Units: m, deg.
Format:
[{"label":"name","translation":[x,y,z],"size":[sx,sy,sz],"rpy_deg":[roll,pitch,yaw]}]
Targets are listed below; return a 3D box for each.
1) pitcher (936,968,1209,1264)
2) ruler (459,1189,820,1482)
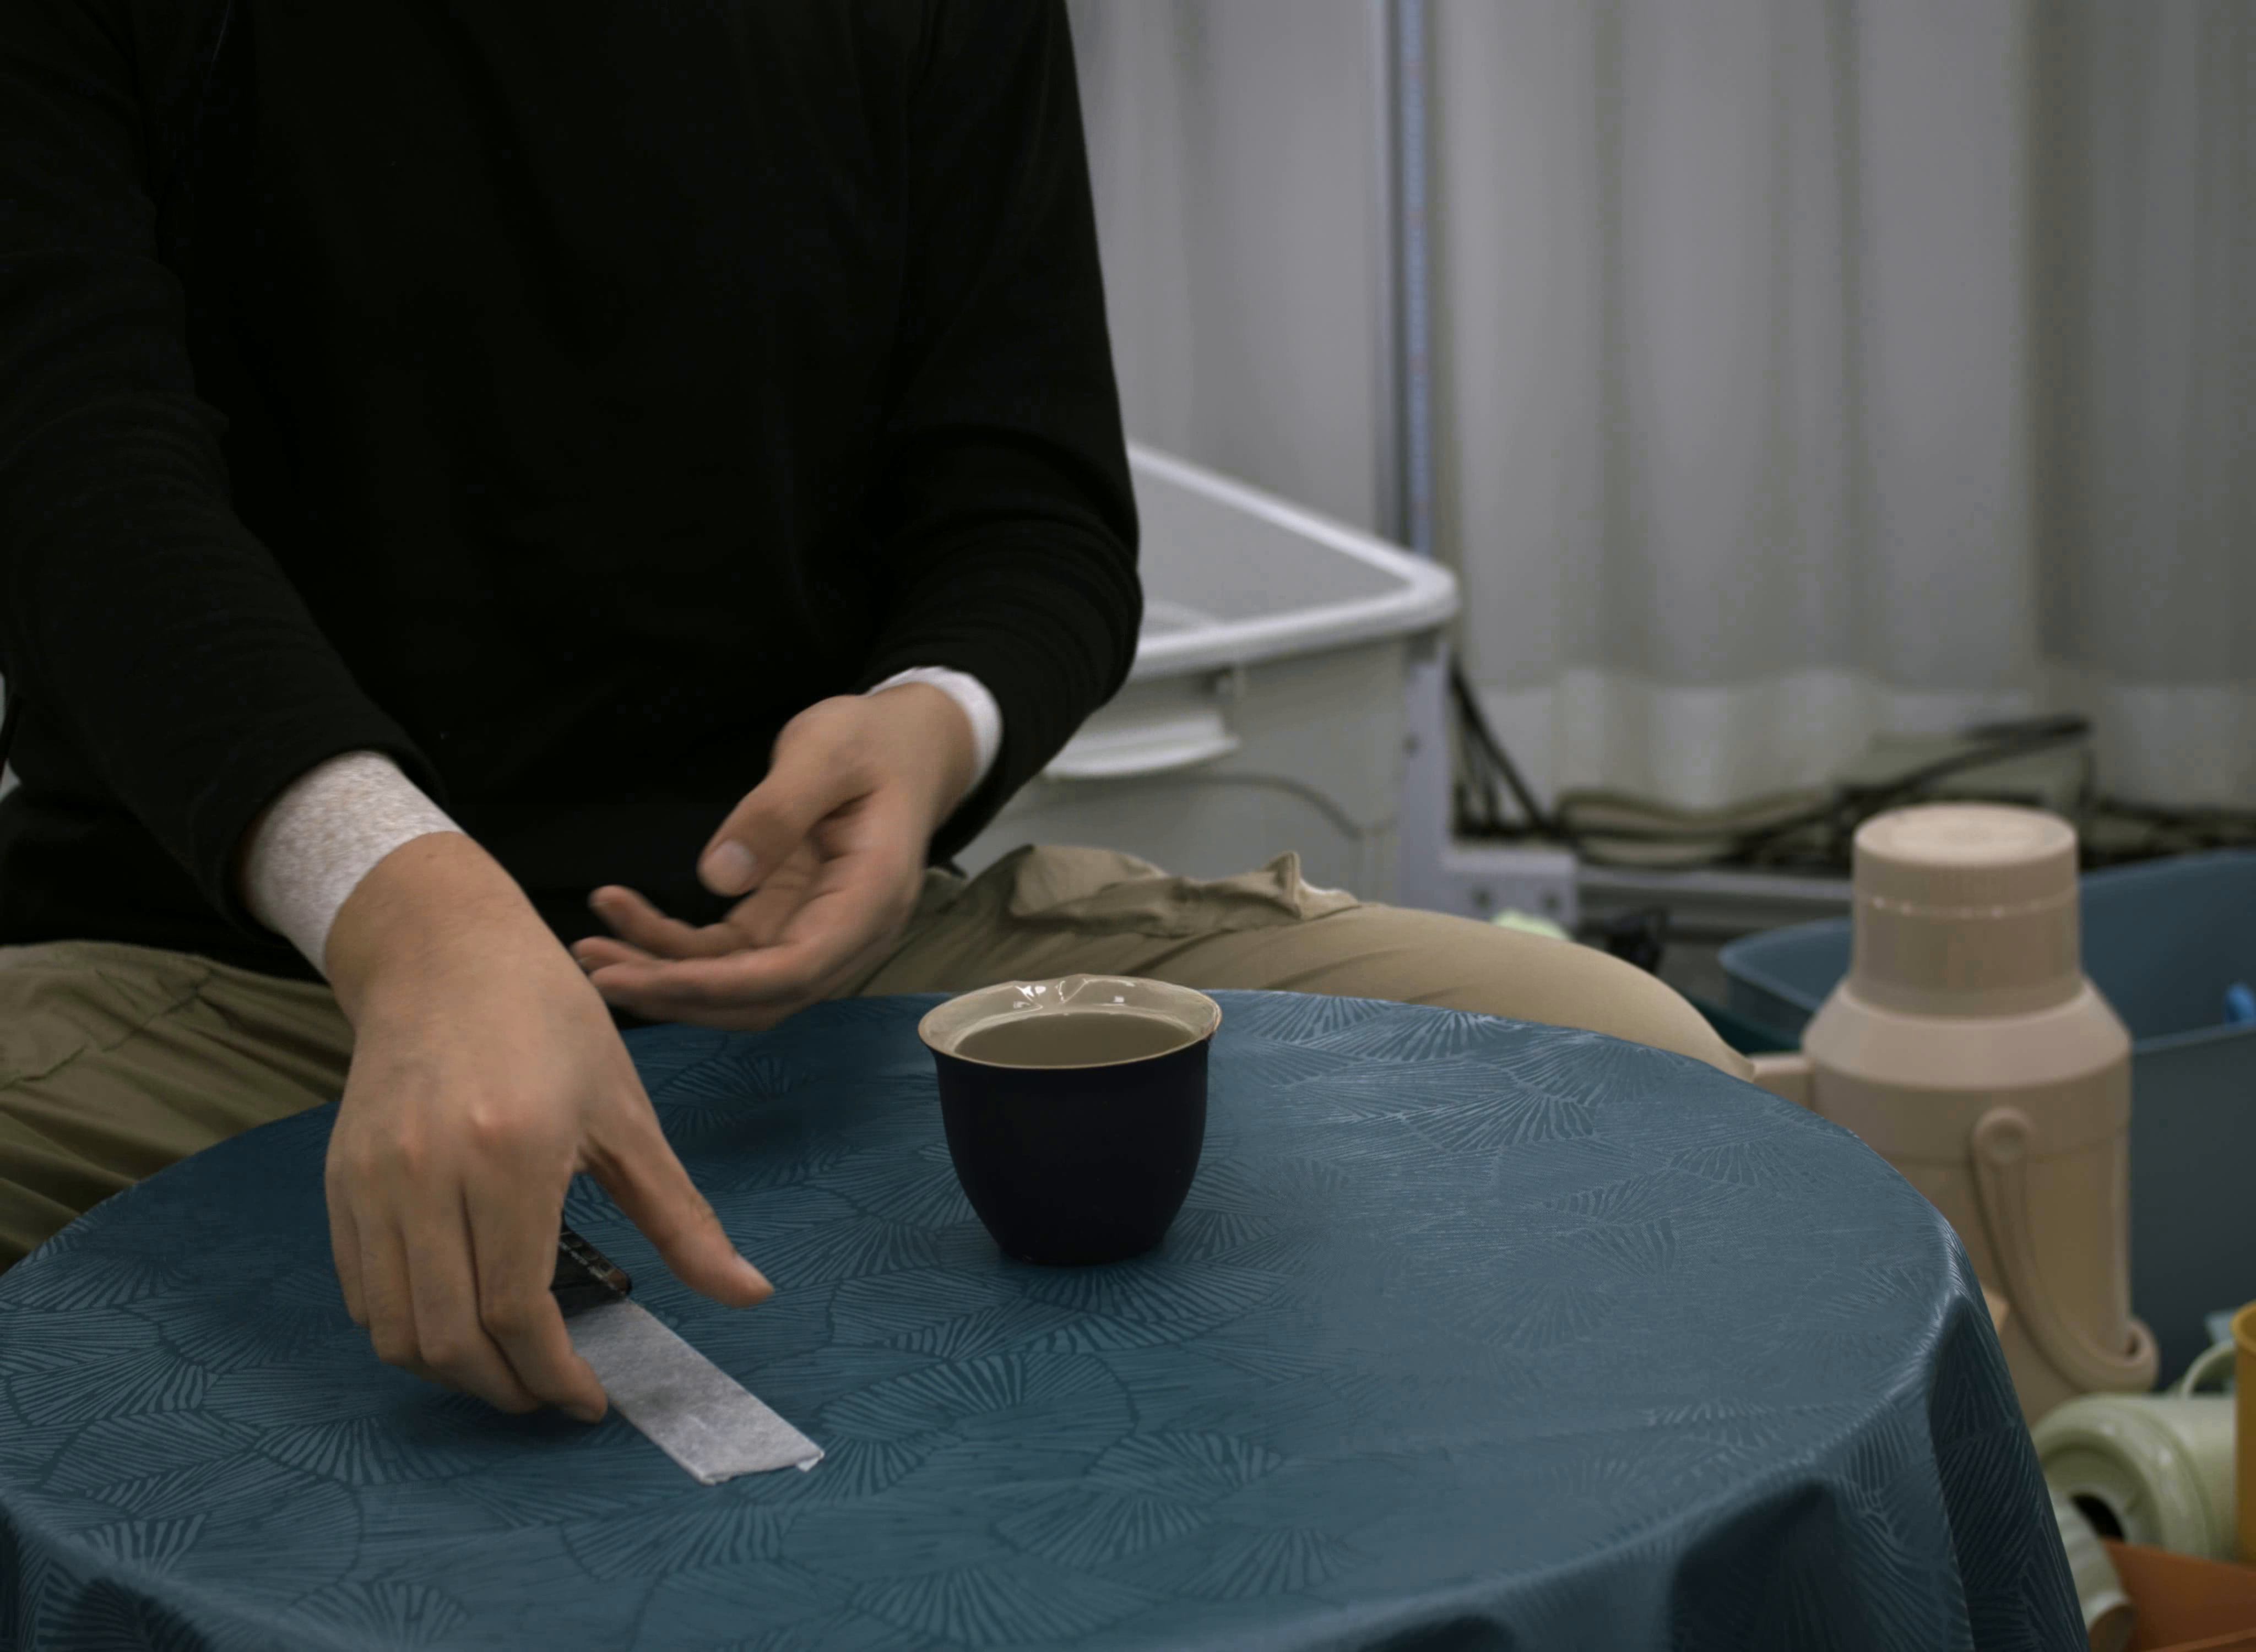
[{"label":"pitcher","translation":[-0.016,0.090,1.668],"size":[0.083,0.071,0.097],"rpy_deg":[-6,15,-8]},{"label":"ruler","translation":[-0.148,0.145,1.588],"size":[0.038,0.024,0.220],"rpy_deg":[-18,18,-21]}]
